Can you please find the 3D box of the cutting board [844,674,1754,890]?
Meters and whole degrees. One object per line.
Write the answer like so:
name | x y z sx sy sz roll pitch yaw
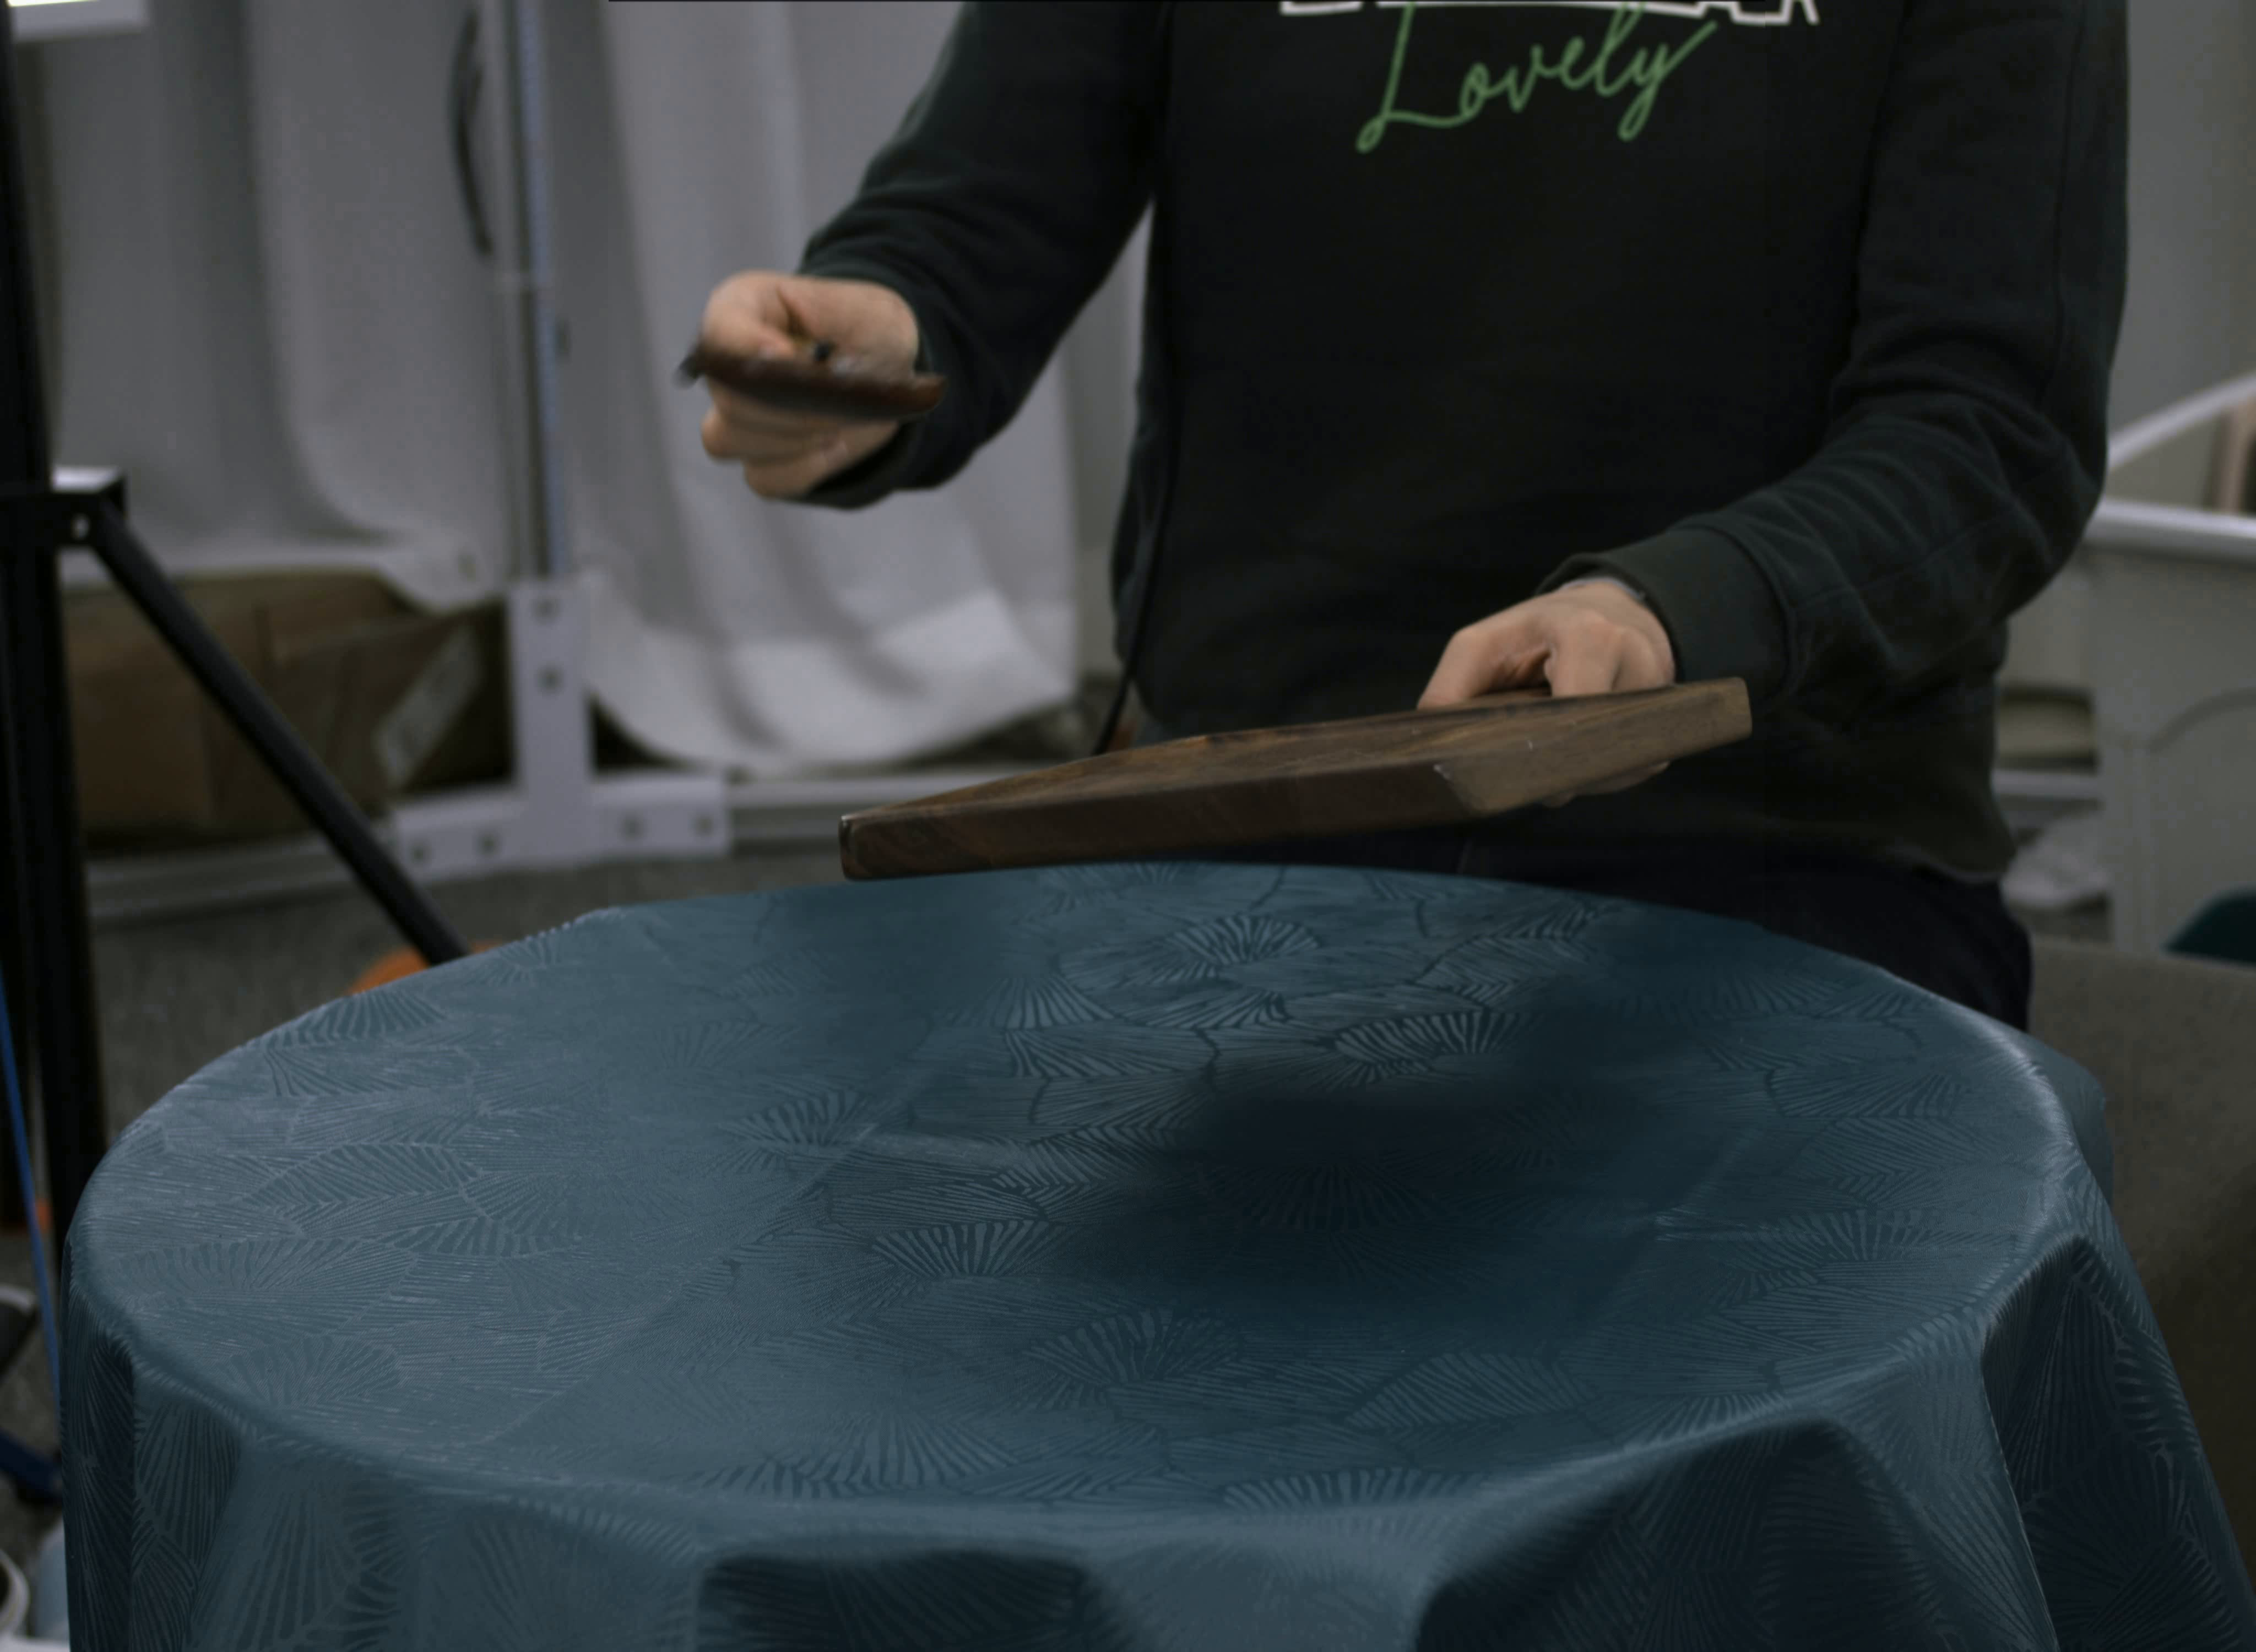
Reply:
cutting board | 0.074 -0.019 1.587 0.204 0.023 0.346 -7 2 24

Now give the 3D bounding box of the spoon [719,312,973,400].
spoon | -0.091 -0.144 1.638 0.075 0.017 0.217 5 7 -7
